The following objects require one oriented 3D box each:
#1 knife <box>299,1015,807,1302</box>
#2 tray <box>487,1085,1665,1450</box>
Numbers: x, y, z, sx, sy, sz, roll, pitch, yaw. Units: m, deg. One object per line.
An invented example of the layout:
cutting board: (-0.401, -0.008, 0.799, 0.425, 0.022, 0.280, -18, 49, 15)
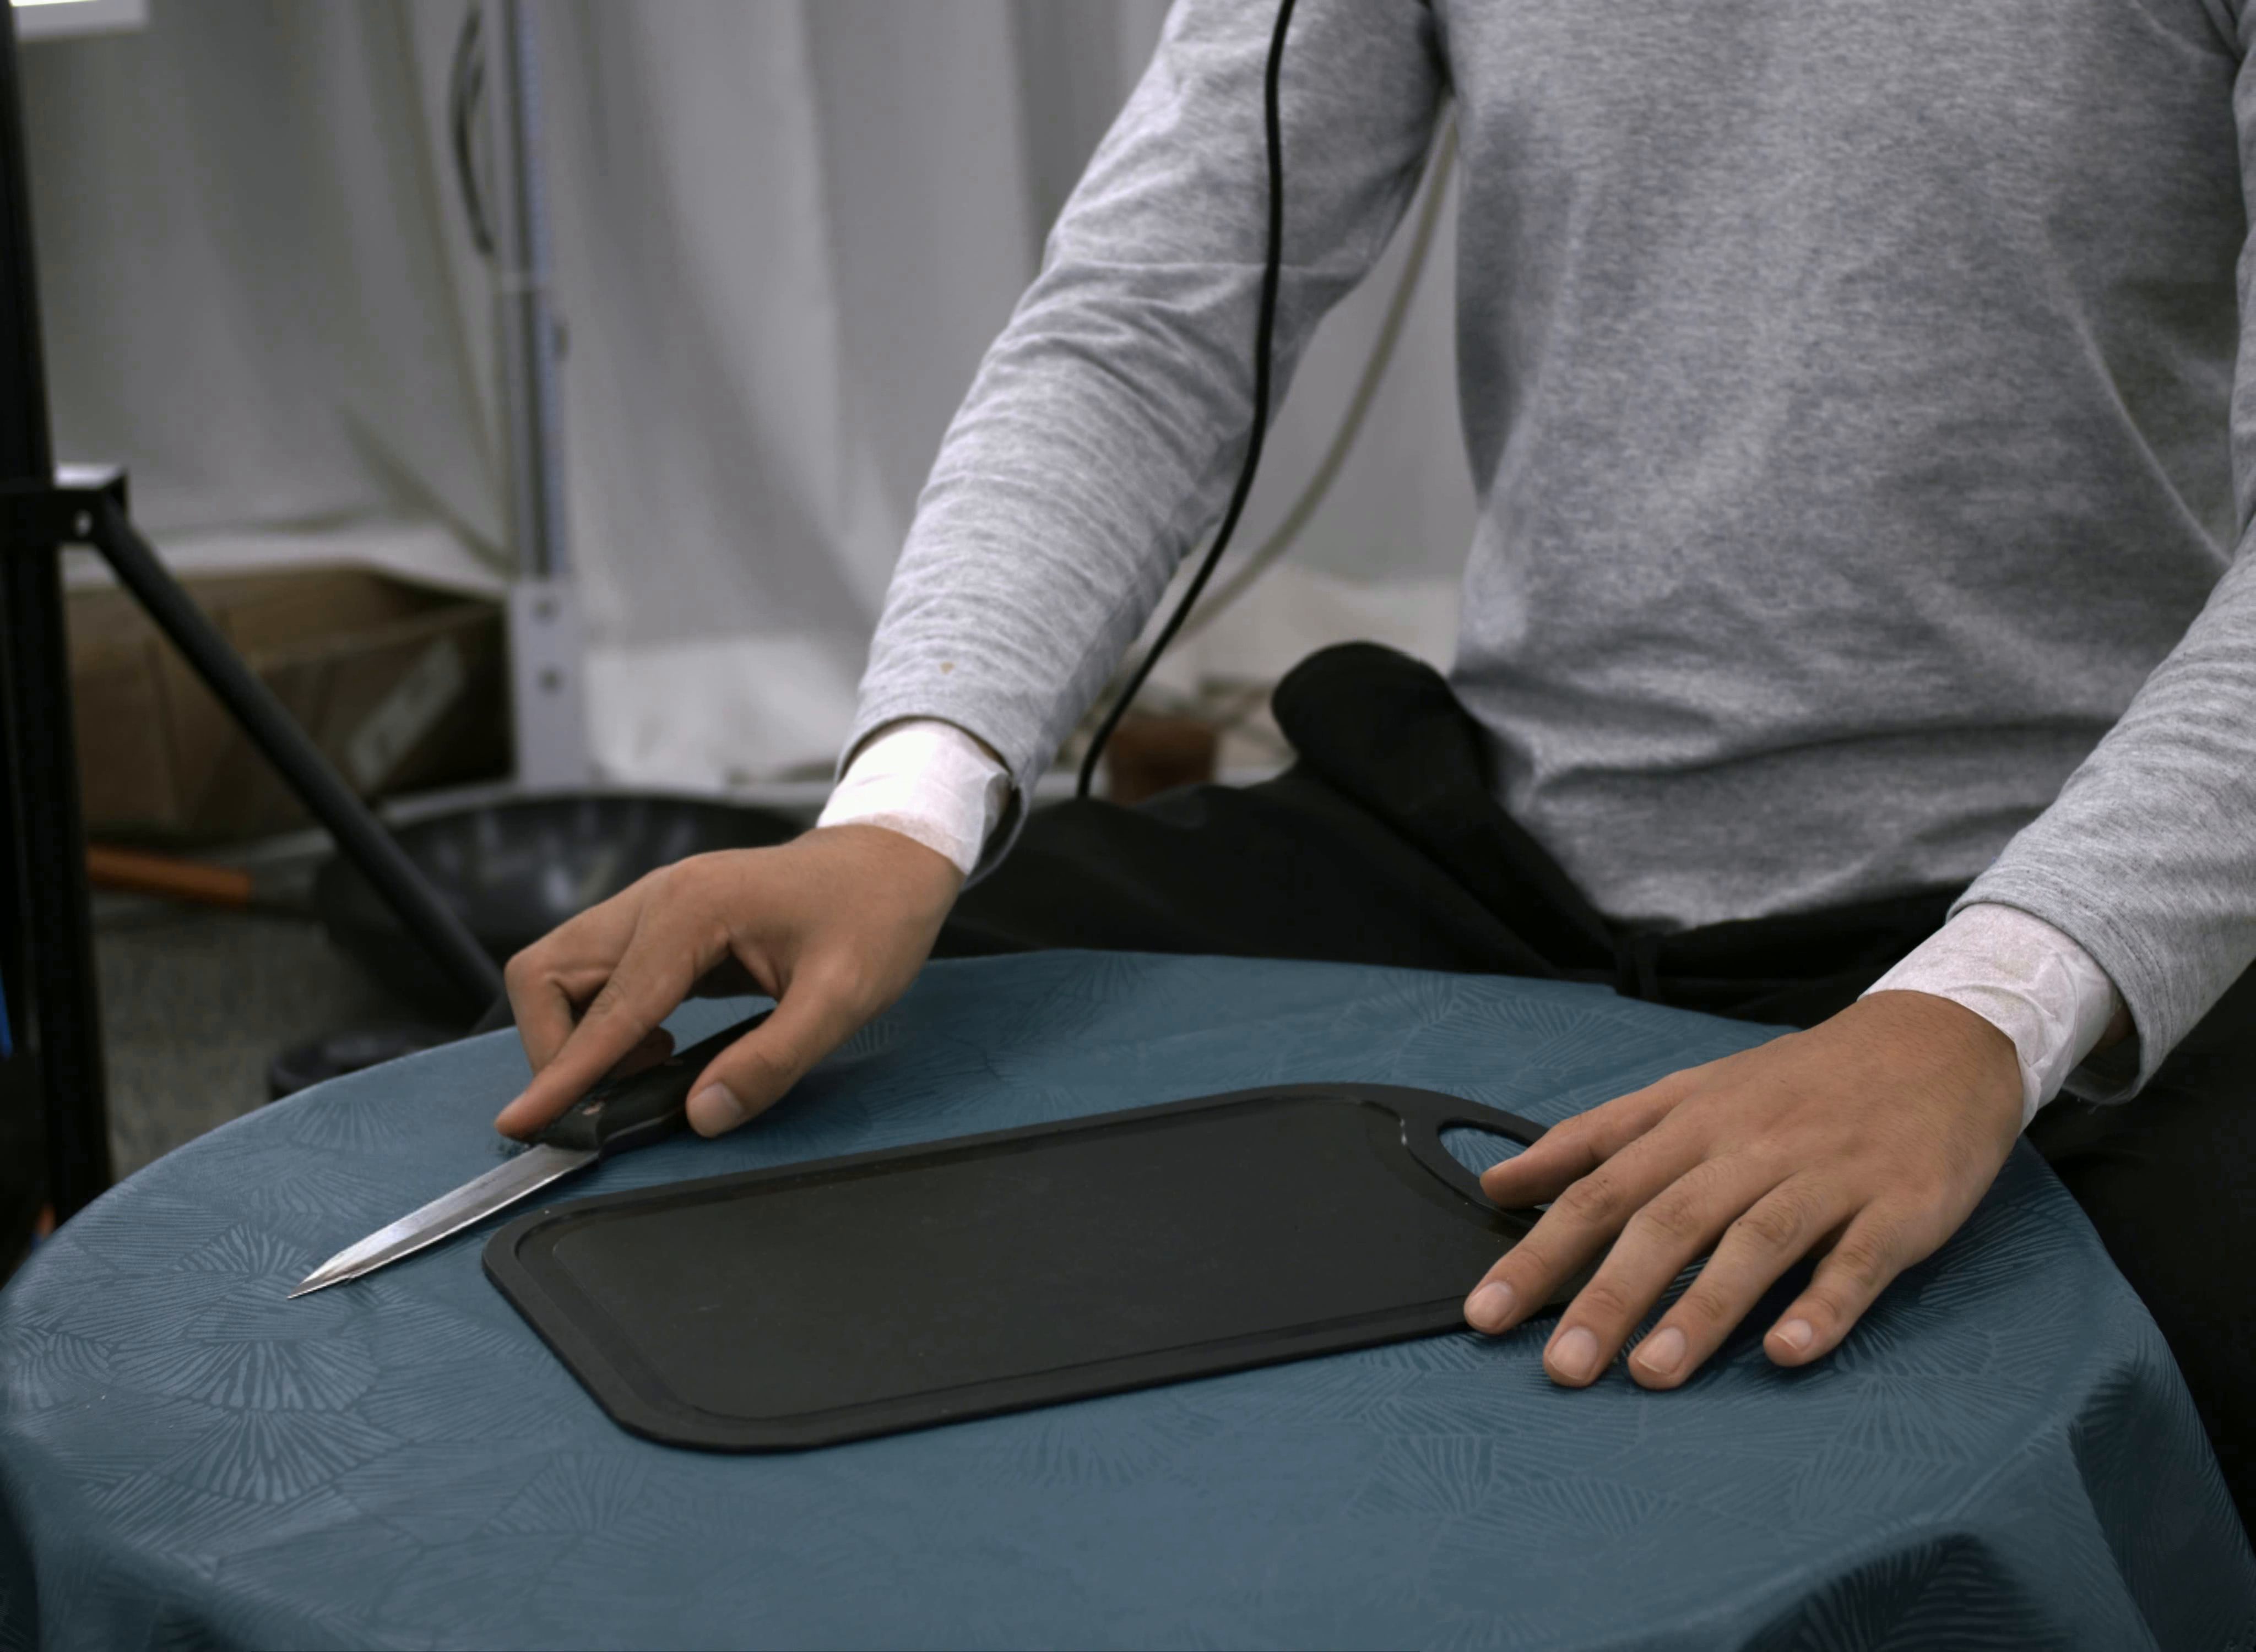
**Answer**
knife: (-0.172, 0.099, 1.598, 0.025, 0.016, 0.234, 5, 20, 33)
tray: (-0.010, 0.119, 1.515, 0.319, 0.010, 0.215, -8, 17, -19)
